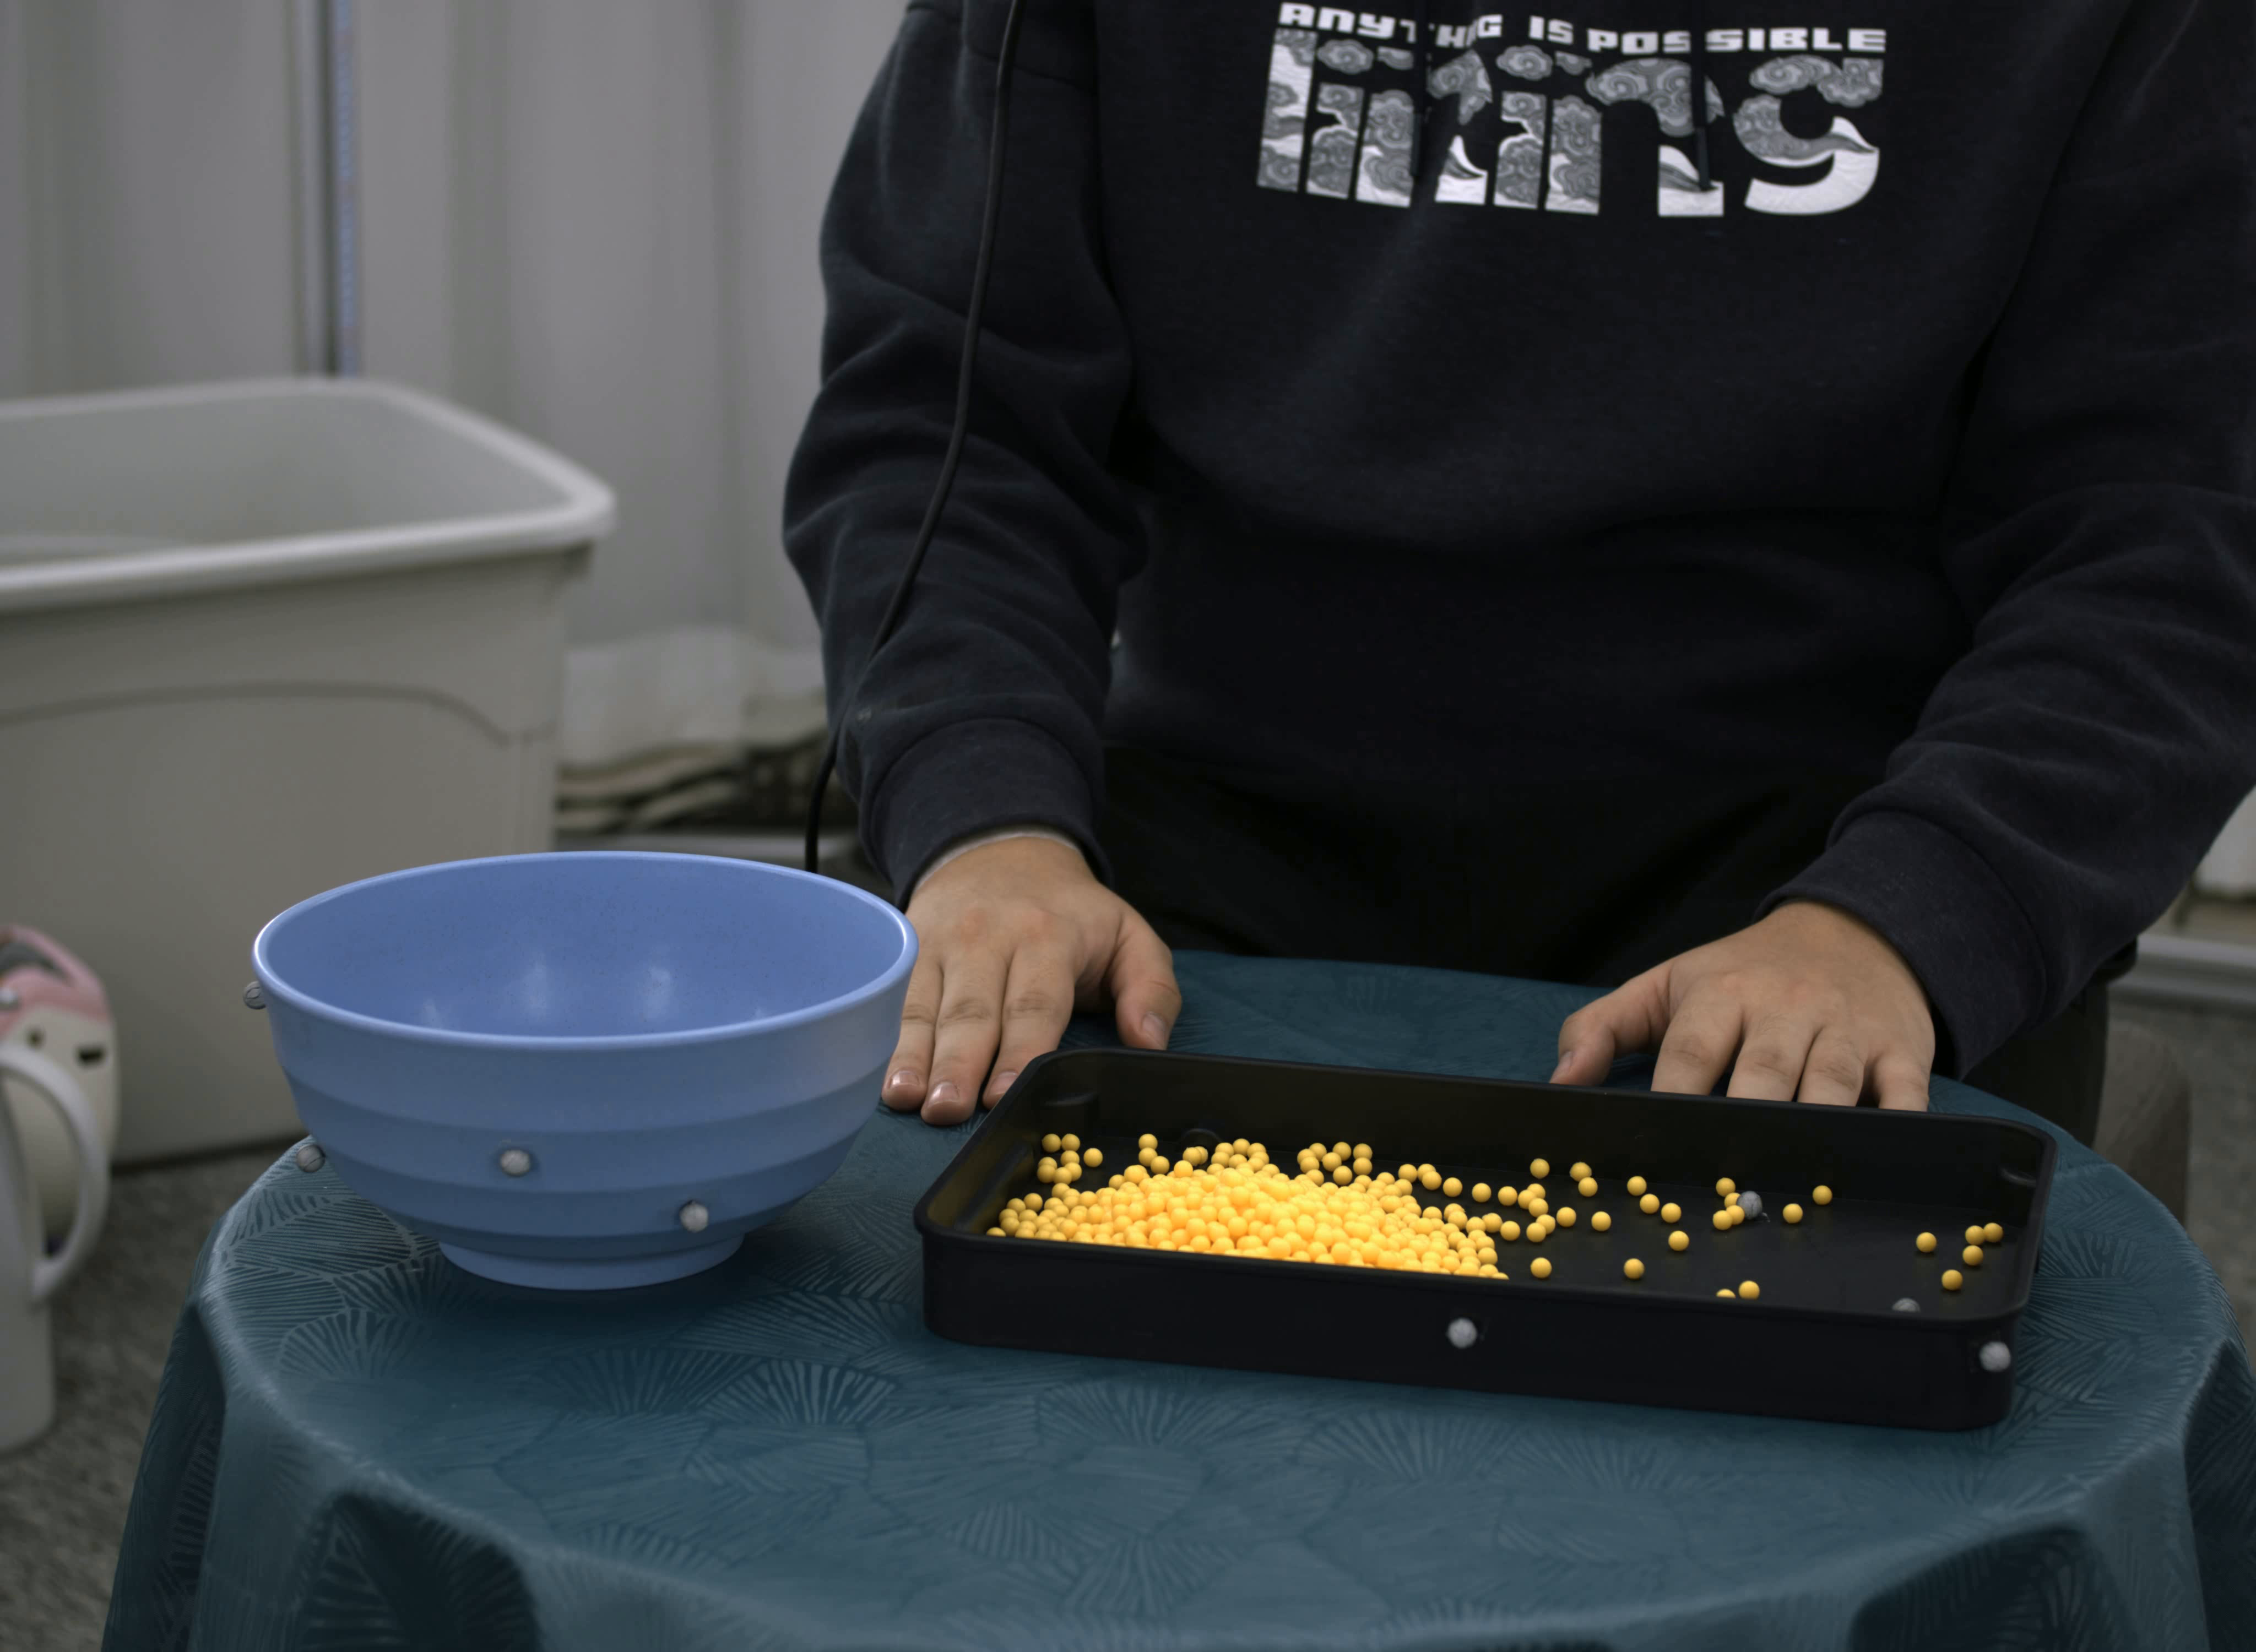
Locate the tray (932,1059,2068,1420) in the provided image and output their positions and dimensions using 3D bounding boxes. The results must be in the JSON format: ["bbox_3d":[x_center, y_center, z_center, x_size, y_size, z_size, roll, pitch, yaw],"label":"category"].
[{"bbox_3d":[0.113,0.119,1.547,0.316,0.037,0.184,2,15,10],"label":"tray"}]

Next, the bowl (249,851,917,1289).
[{"bbox_3d":[-0.159,0.077,1.563,0.196,0.096,0.195,-1,16,1],"label":"bowl"}]
